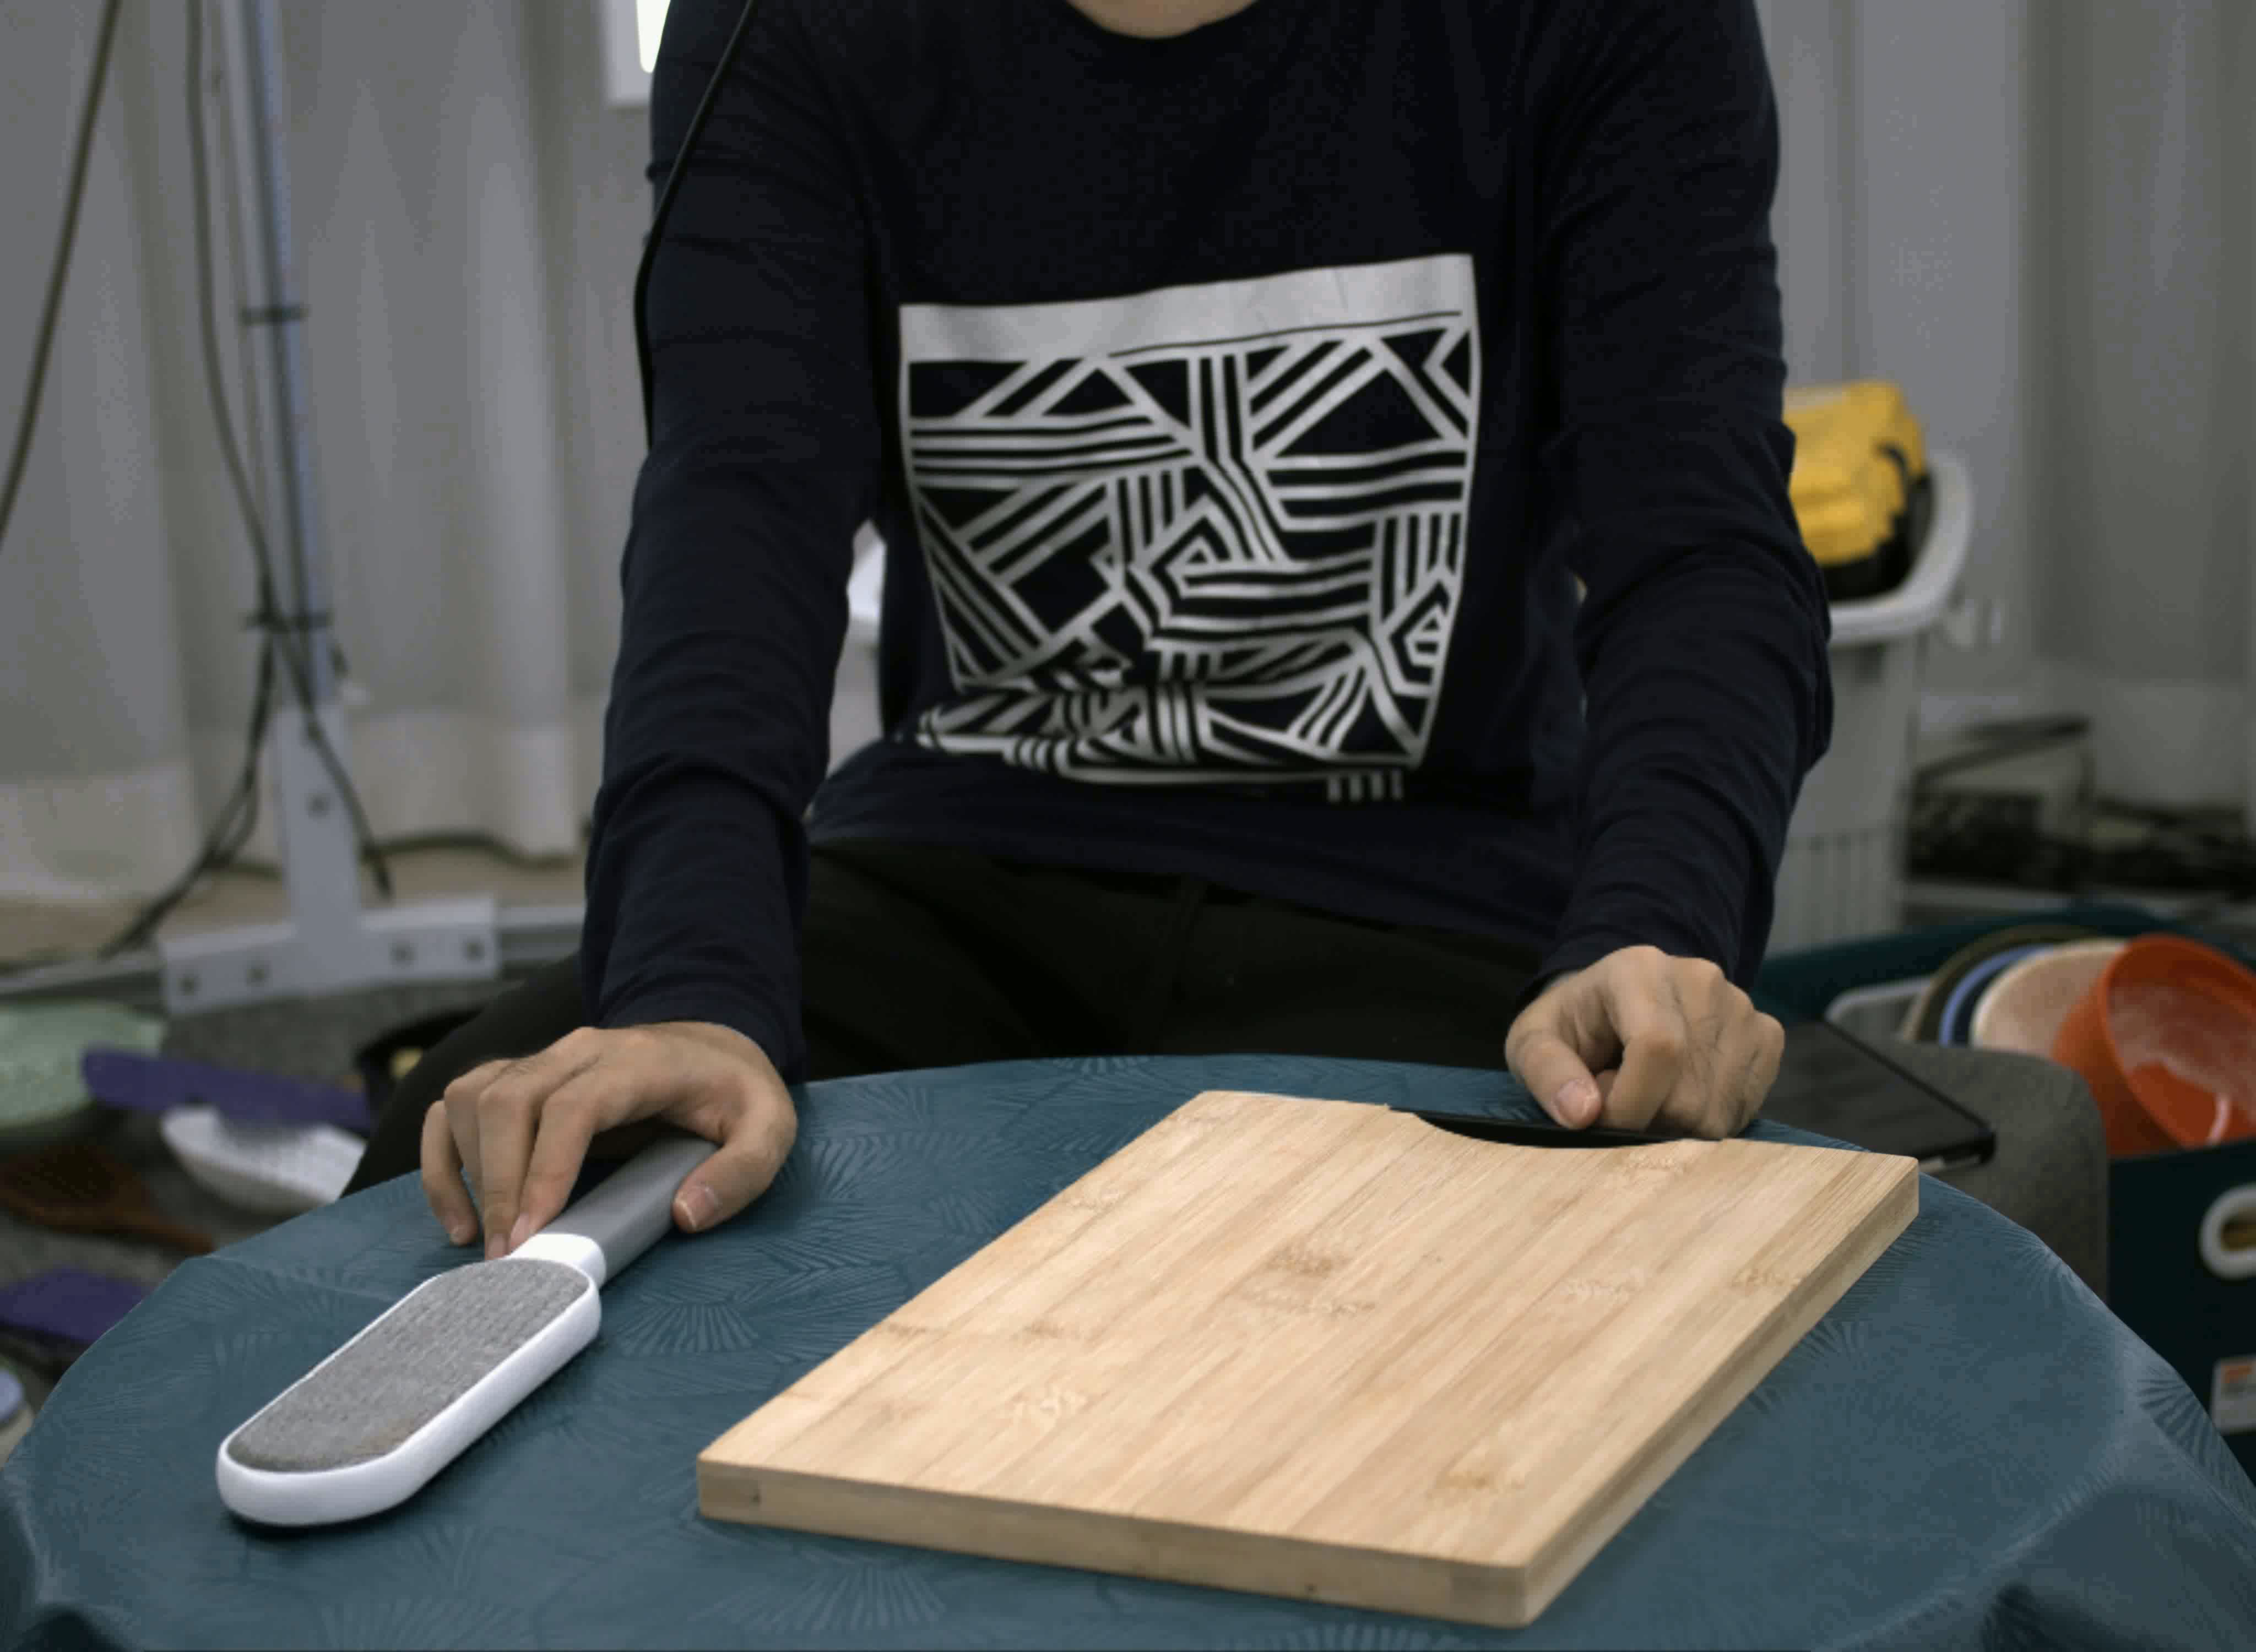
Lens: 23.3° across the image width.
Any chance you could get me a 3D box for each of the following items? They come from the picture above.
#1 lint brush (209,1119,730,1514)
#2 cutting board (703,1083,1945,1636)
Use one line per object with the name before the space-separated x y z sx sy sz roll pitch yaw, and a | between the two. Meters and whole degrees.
lint brush | -0.182 0.140 1.604 0.060 0.021 0.310 -3 14 19
cutting board | 0.066 0.143 1.567 0.251 0.023 0.349 5 16 24
